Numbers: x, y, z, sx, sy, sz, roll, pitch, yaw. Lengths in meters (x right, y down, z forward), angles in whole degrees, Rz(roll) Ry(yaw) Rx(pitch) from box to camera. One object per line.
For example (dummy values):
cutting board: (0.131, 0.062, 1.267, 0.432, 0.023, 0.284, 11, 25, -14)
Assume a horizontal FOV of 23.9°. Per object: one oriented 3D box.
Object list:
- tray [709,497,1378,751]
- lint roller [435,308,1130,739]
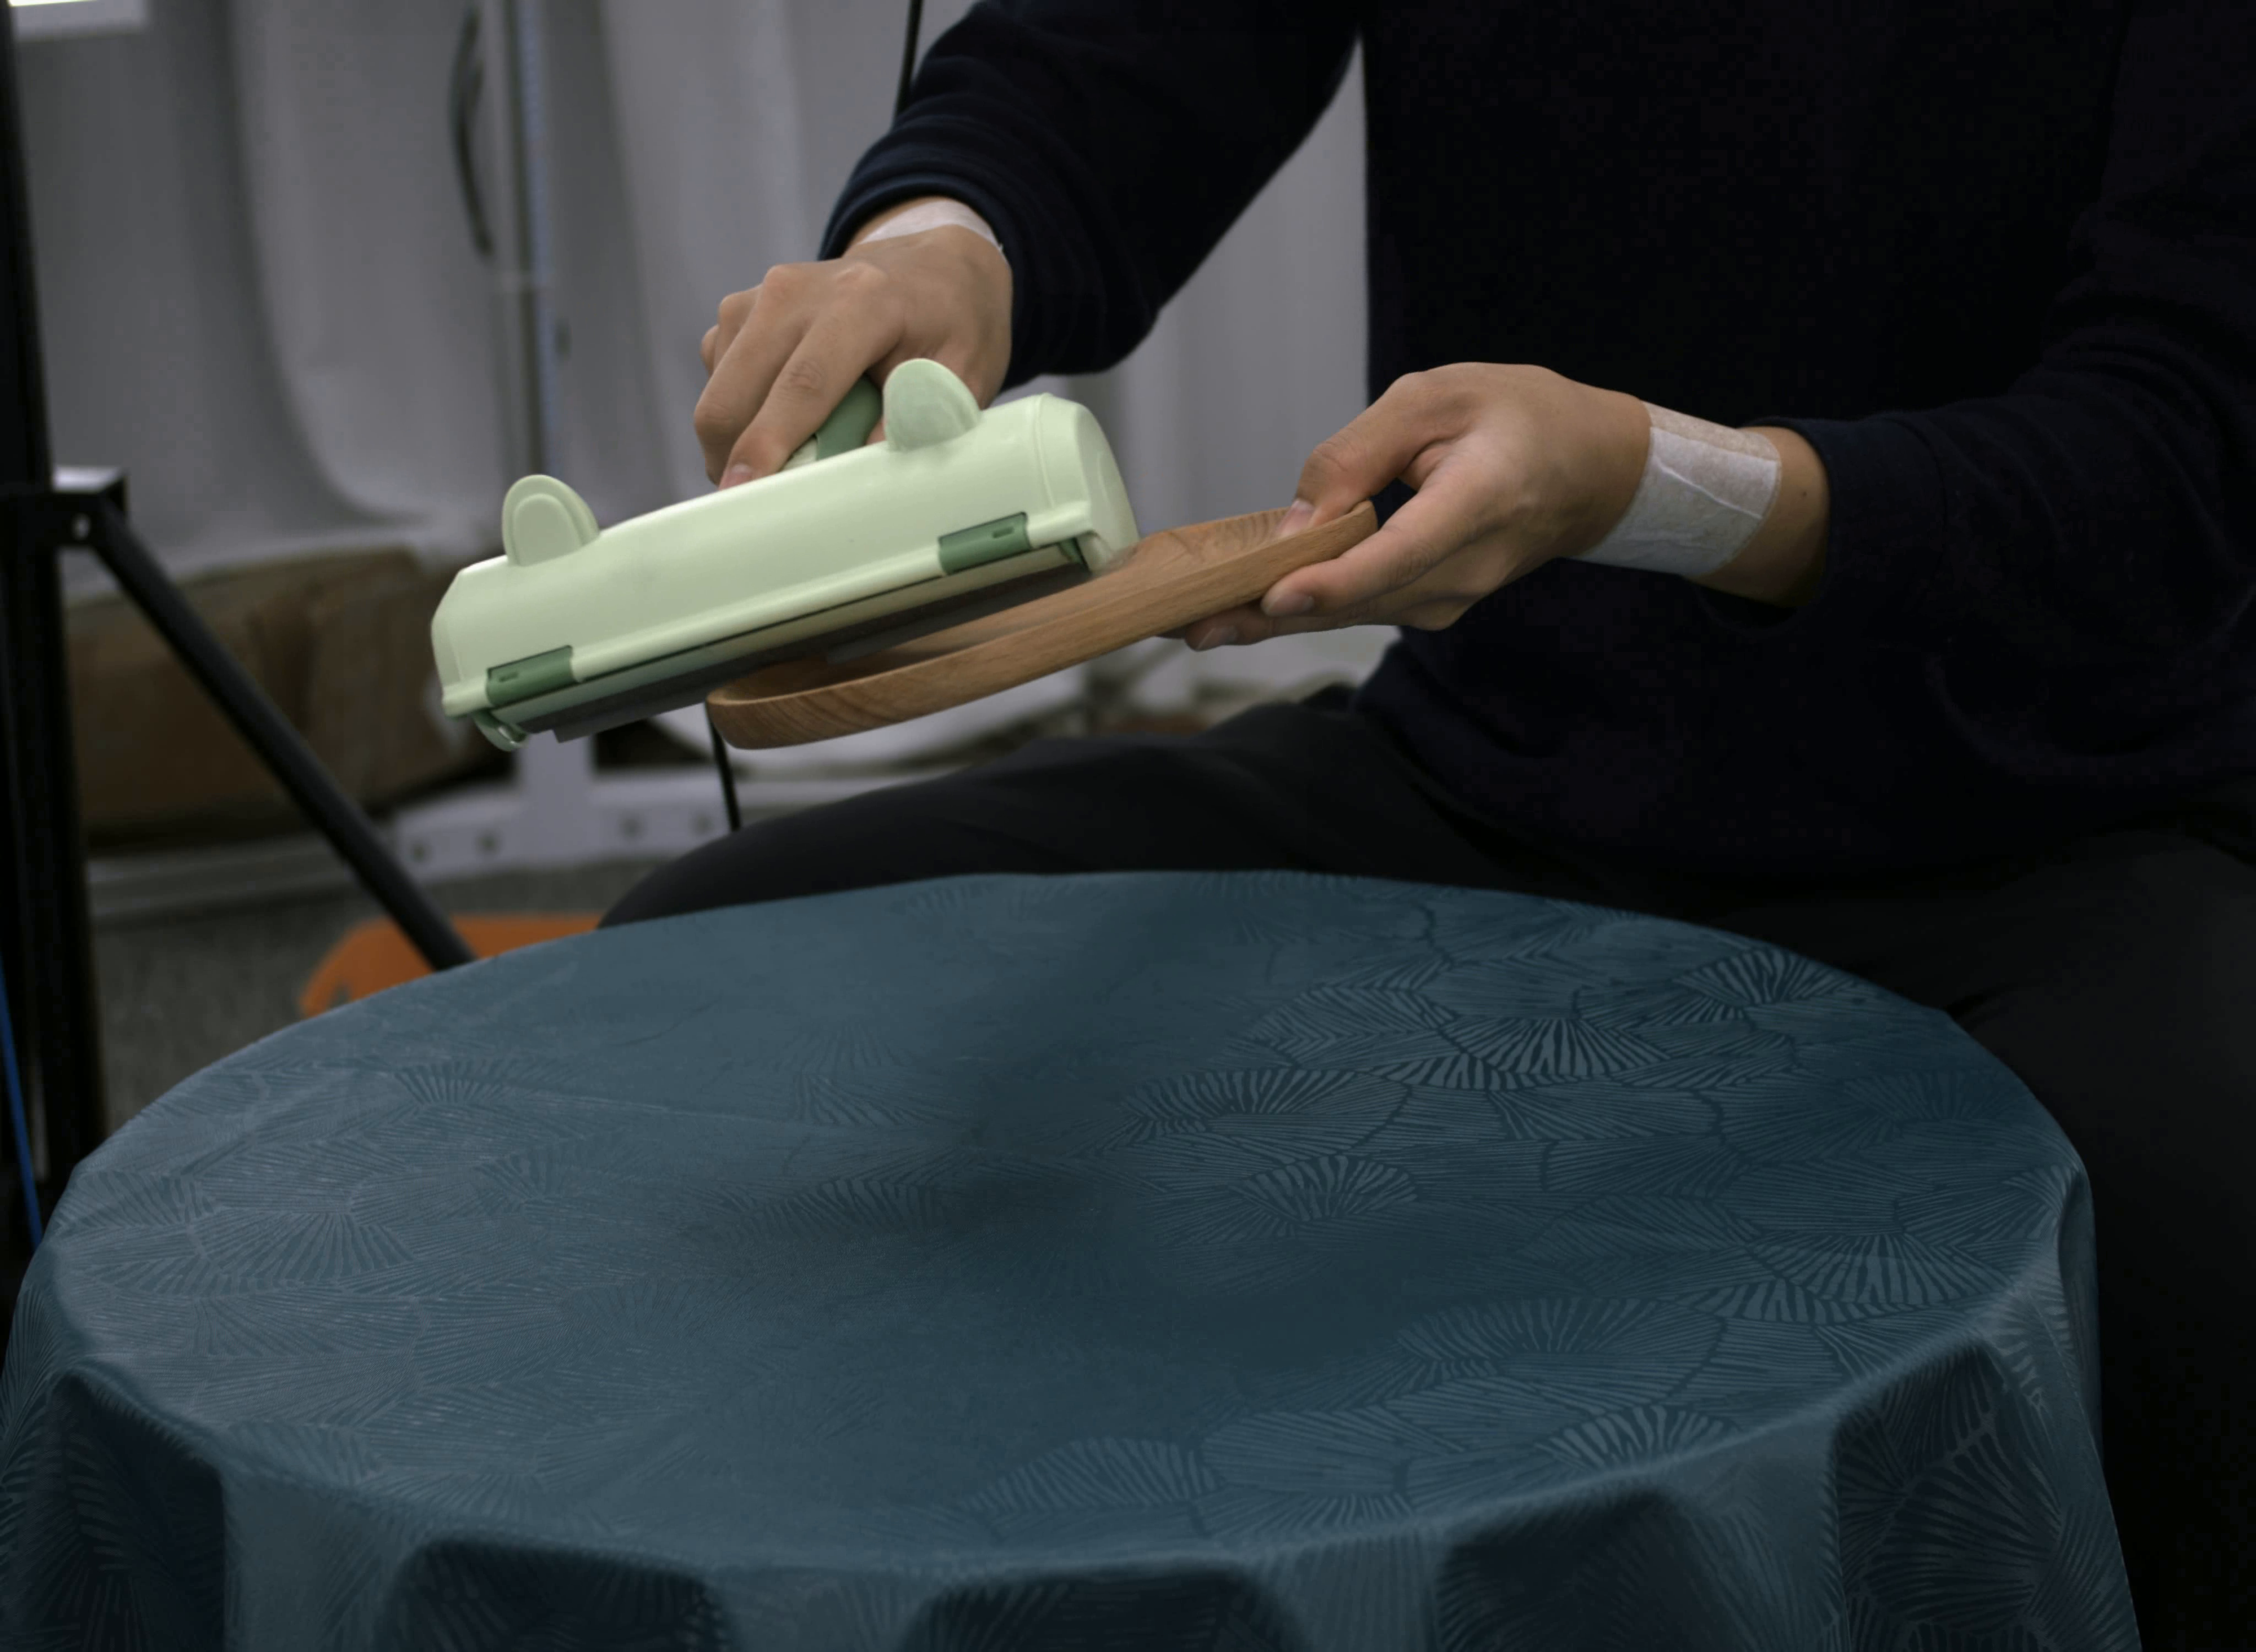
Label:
tray: (-0.020, -0.058, 1.501, 0.226, 0.020, 0.104, -24, 12, -42)
lint roller: (-0.100, -0.114, 1.534, 0.199, 0.081, 0.185, -16, 39, 13)
